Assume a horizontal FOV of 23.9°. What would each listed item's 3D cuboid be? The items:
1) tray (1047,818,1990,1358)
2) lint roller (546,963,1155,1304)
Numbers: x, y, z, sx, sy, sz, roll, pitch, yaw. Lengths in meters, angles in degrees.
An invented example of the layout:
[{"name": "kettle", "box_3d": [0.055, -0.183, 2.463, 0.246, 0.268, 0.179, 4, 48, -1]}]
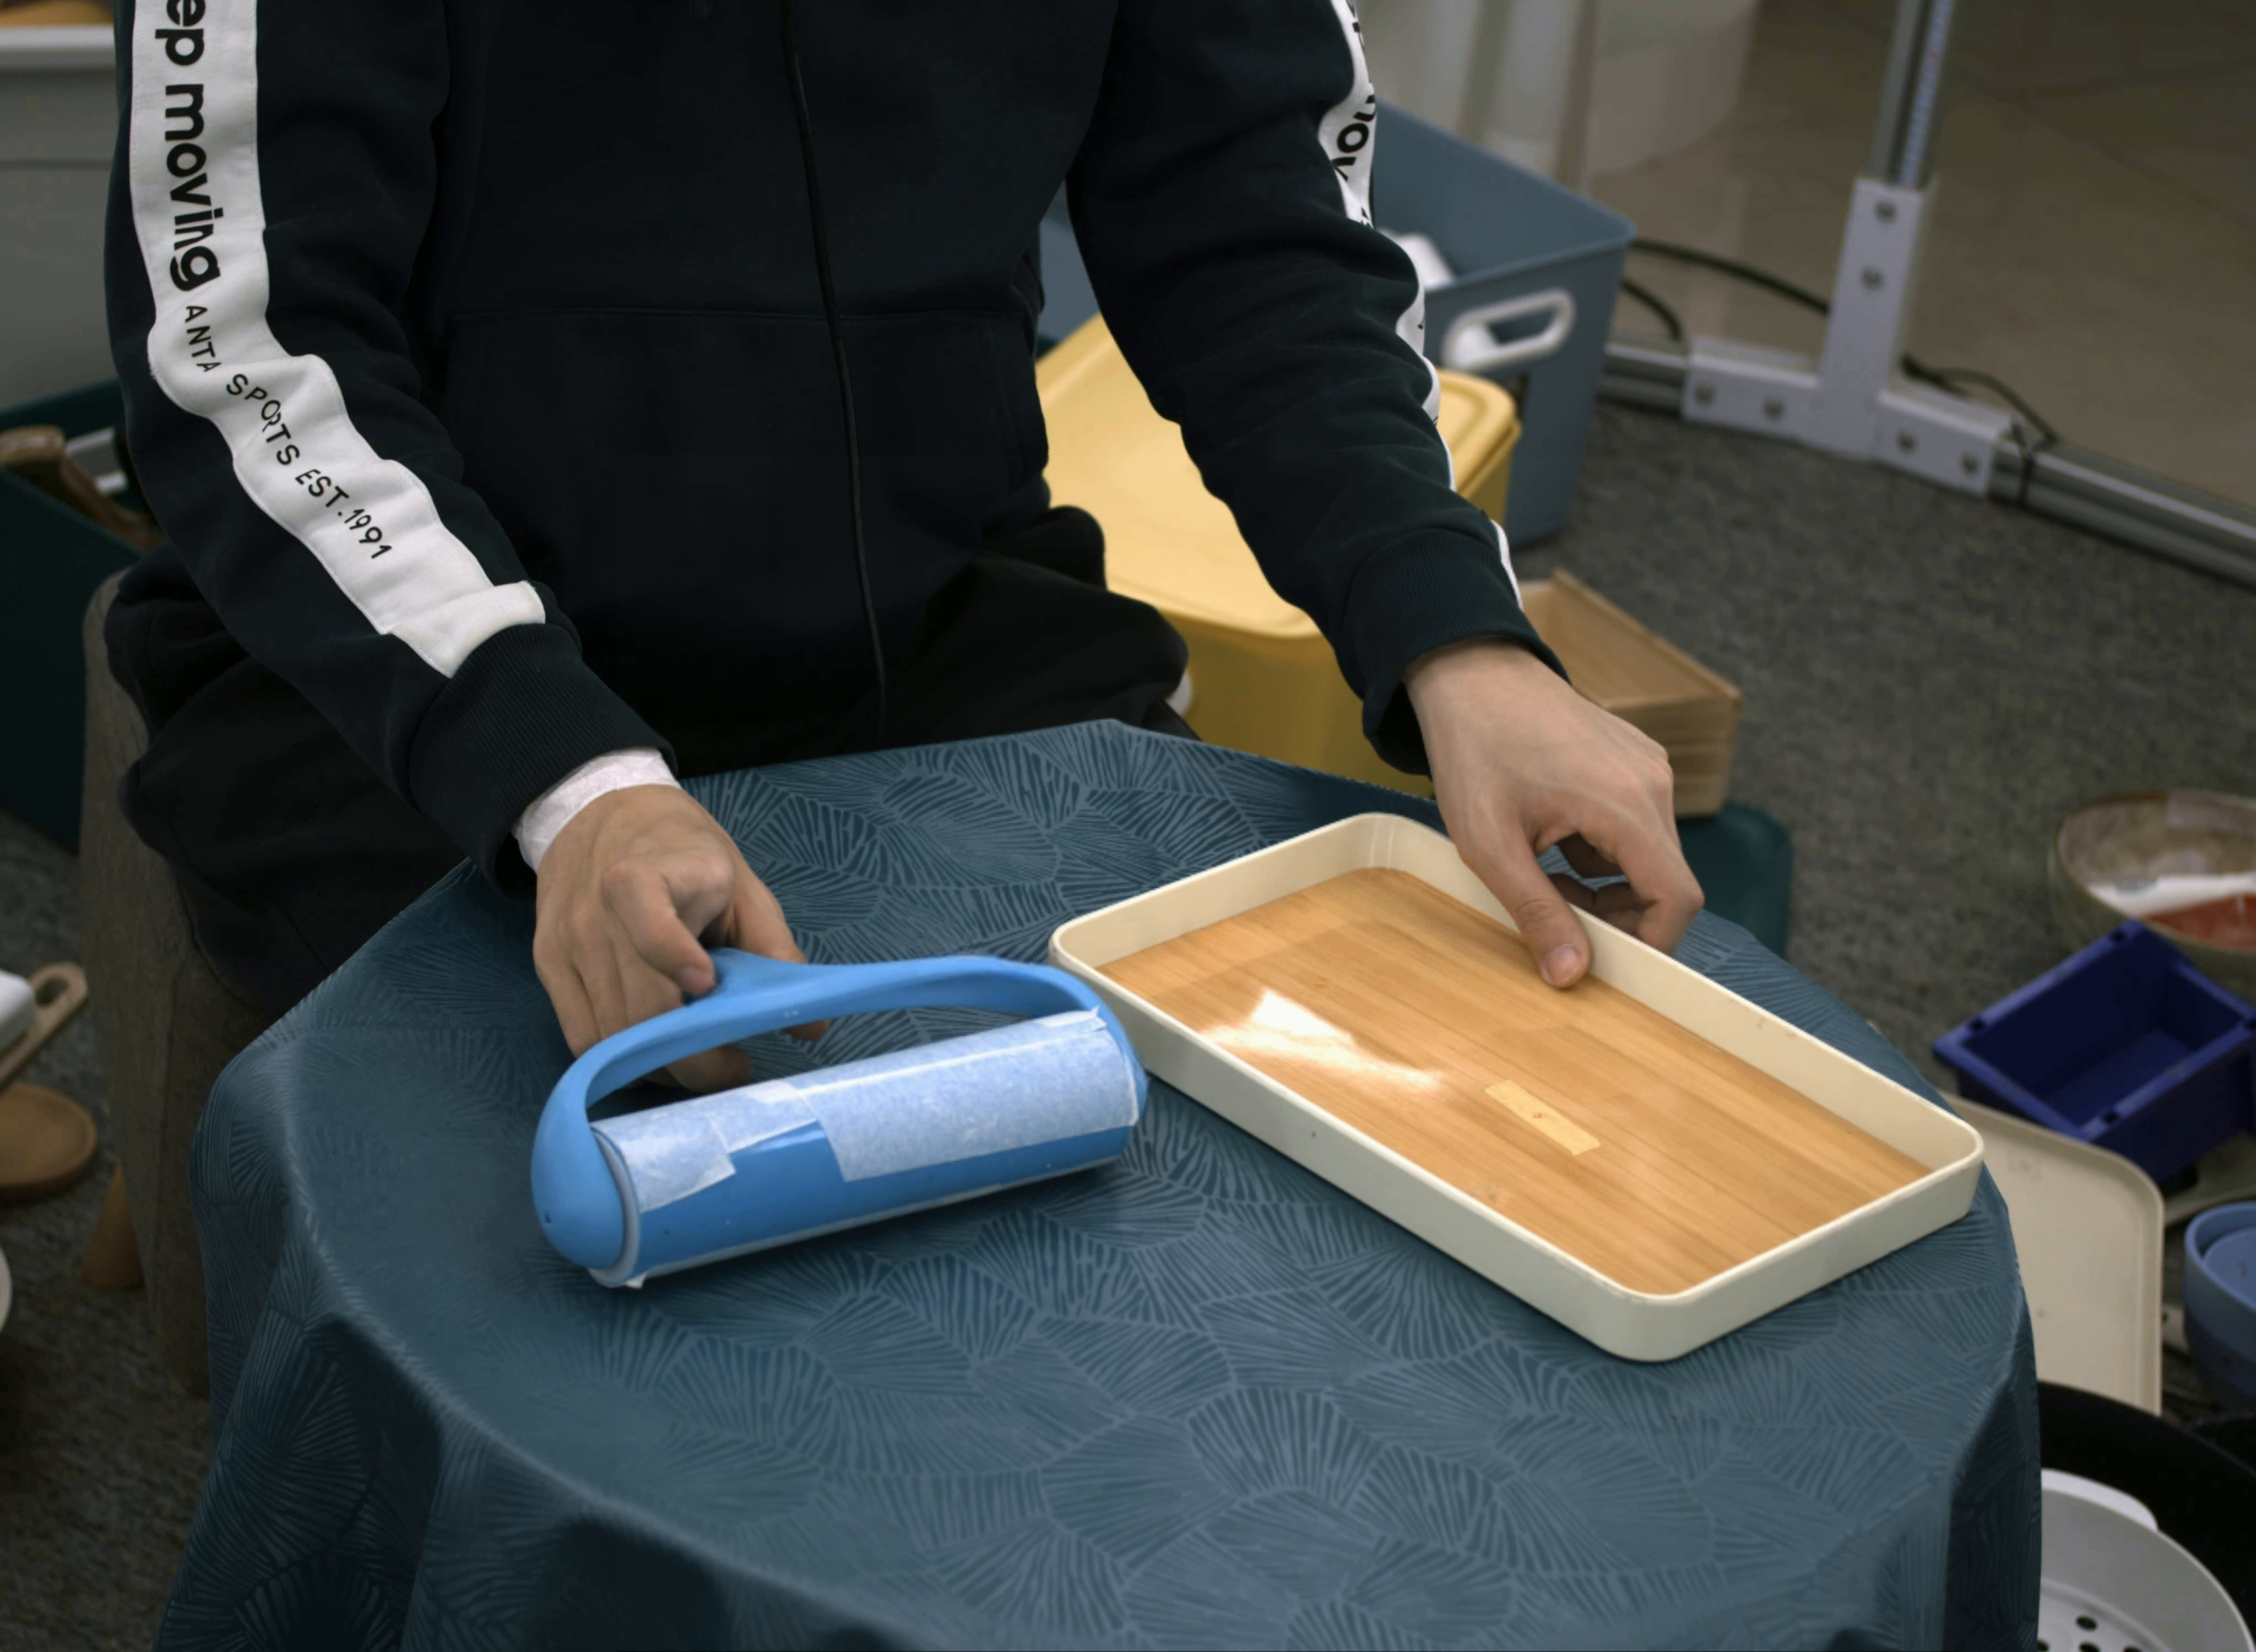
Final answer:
[{"name": "tray", "box_3d": [0.134, 0.086, 1.873, 0.190, 0.027, 0.302, -19, 36, -40]}, {"name": "lint roller", "box_3d": [-0.123, 0.082, 1.793, 0.227, 0.067, 0.182, -16, 35, -34]}]
